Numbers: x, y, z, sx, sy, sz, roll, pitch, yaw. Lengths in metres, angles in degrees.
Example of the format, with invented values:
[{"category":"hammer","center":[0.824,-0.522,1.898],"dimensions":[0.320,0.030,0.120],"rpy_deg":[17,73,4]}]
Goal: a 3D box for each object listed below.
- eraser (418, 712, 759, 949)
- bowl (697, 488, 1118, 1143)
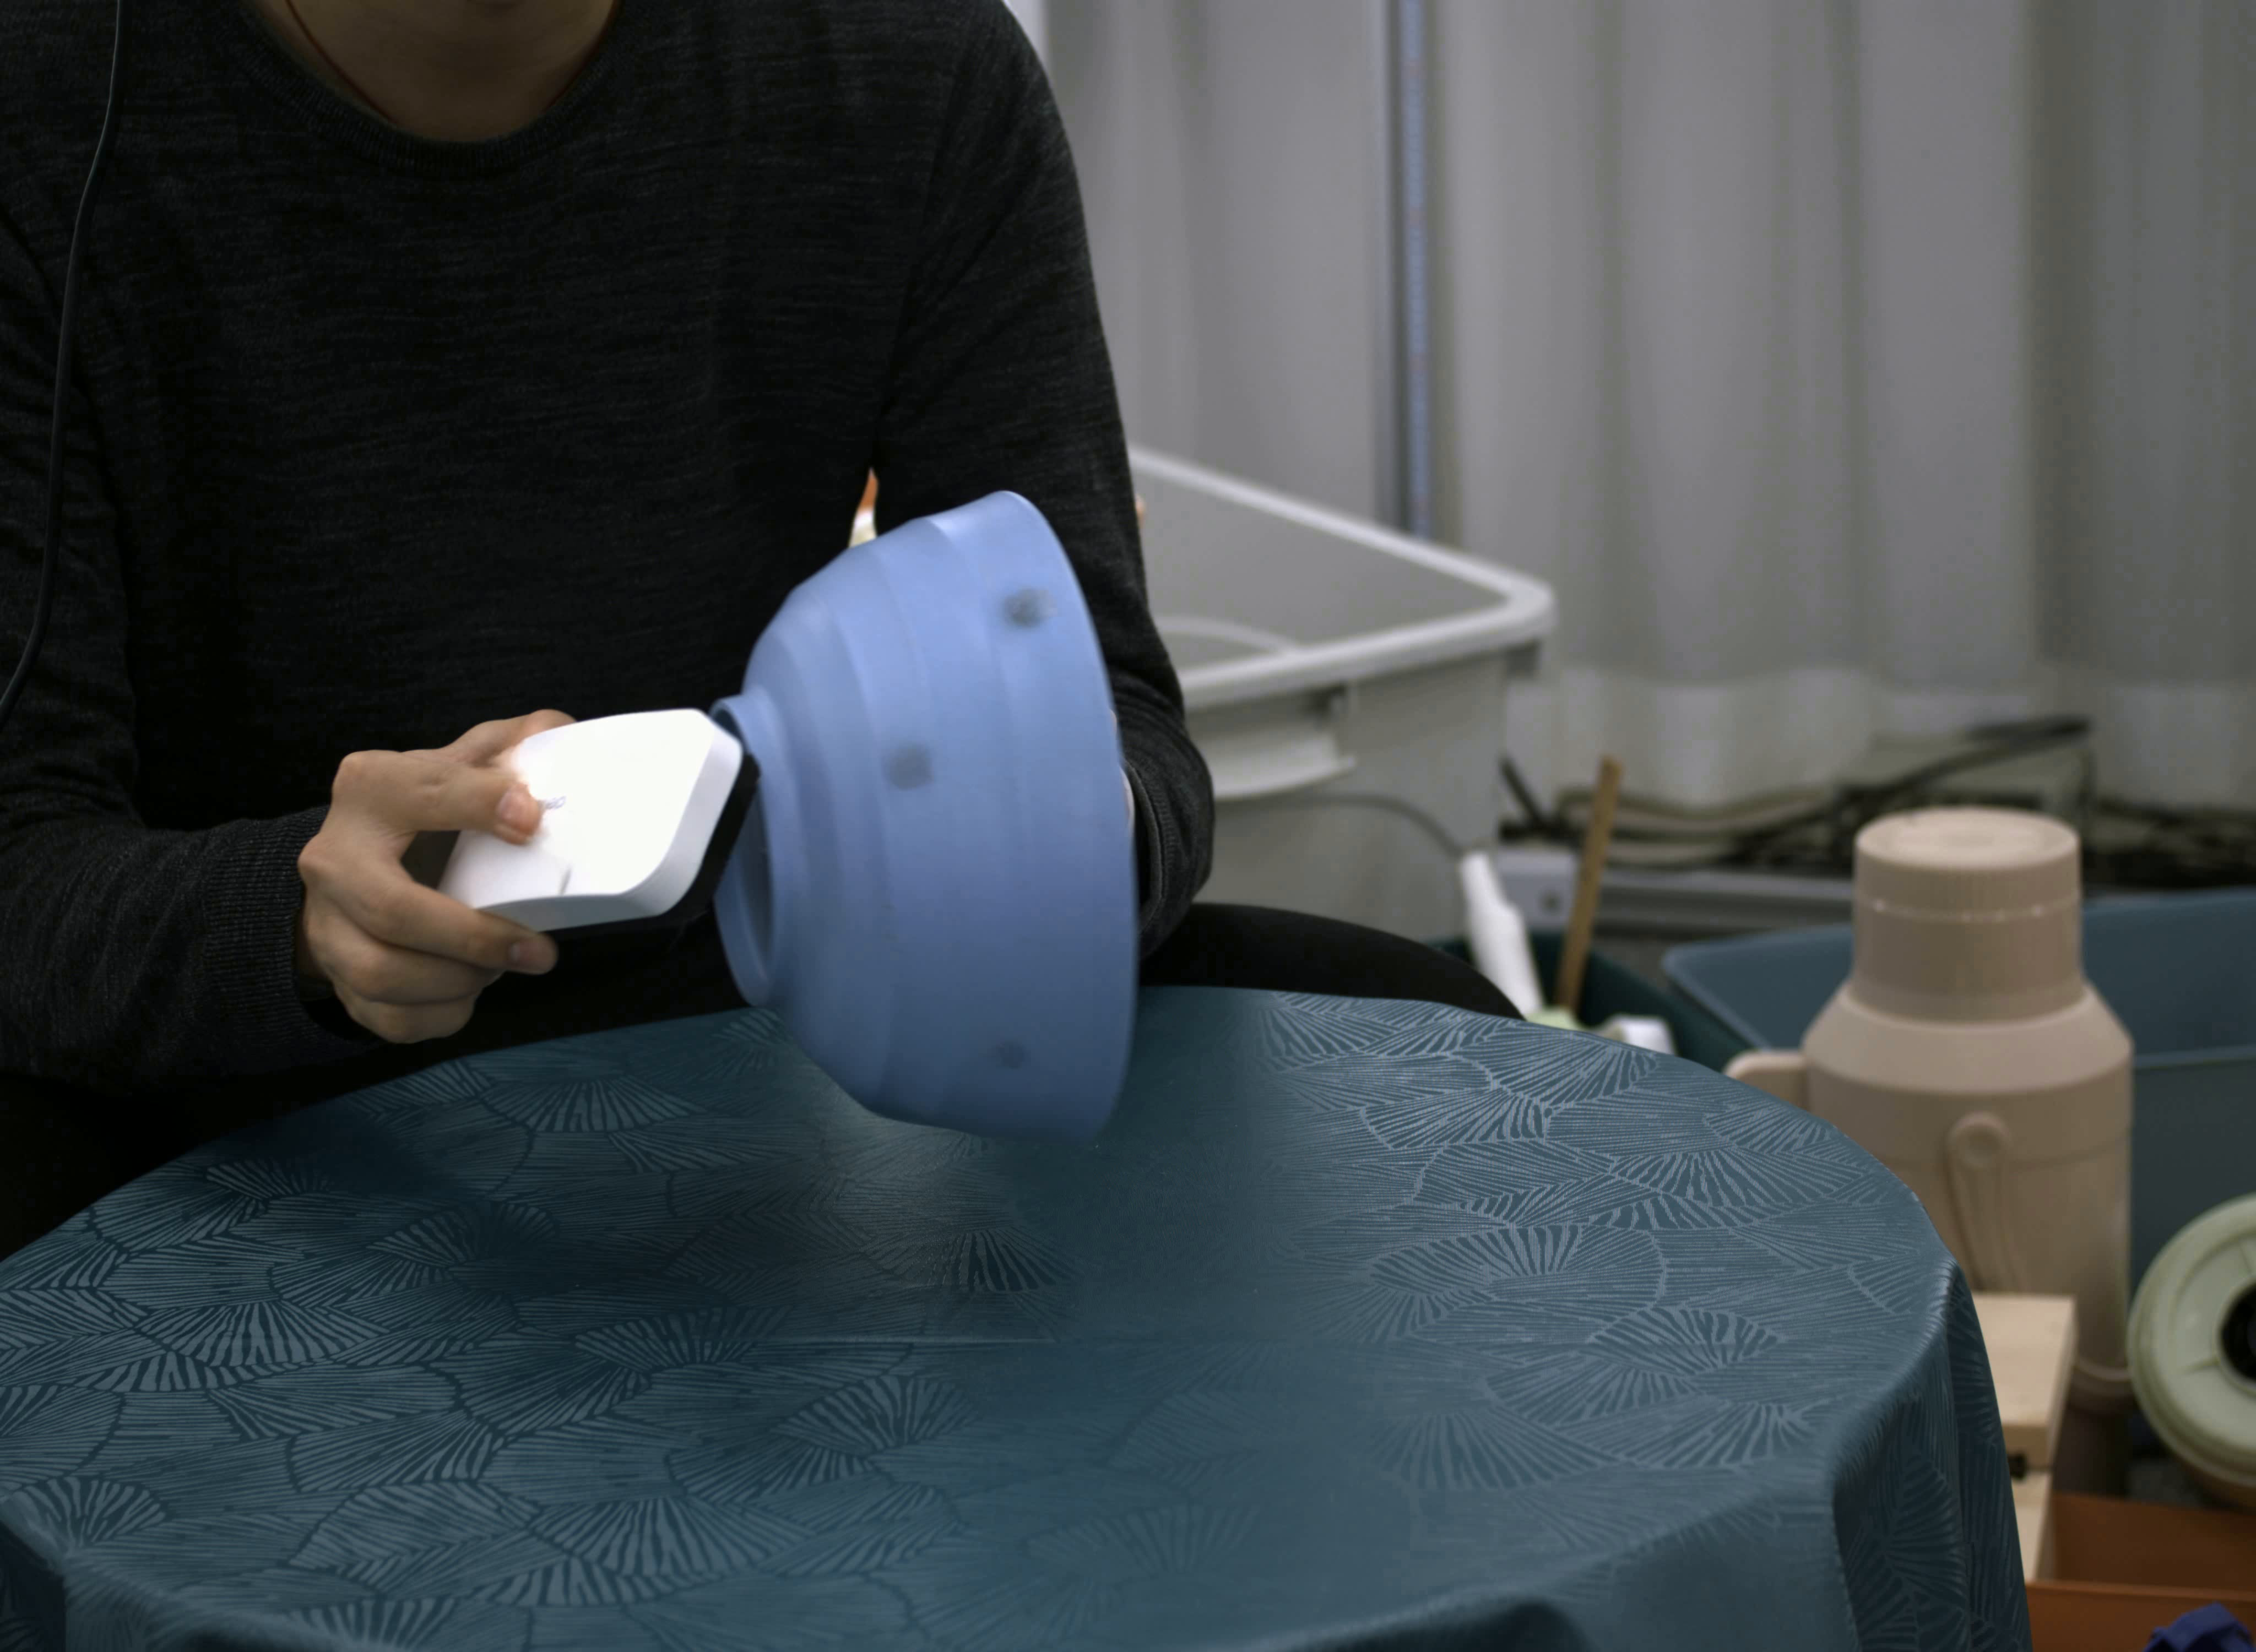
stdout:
[{"category":"eraser","center":[-0.160,0.001,1.602],"dimensions":[0.034,0.064,0.131],"rpy_deg":[35,-24,-29]},{"category":"bowl","center":[-0.074,0.002,1.624],"dimensions":[0.095,0.196,0.198],"rpy_deg":[-6,15,-14]}]
